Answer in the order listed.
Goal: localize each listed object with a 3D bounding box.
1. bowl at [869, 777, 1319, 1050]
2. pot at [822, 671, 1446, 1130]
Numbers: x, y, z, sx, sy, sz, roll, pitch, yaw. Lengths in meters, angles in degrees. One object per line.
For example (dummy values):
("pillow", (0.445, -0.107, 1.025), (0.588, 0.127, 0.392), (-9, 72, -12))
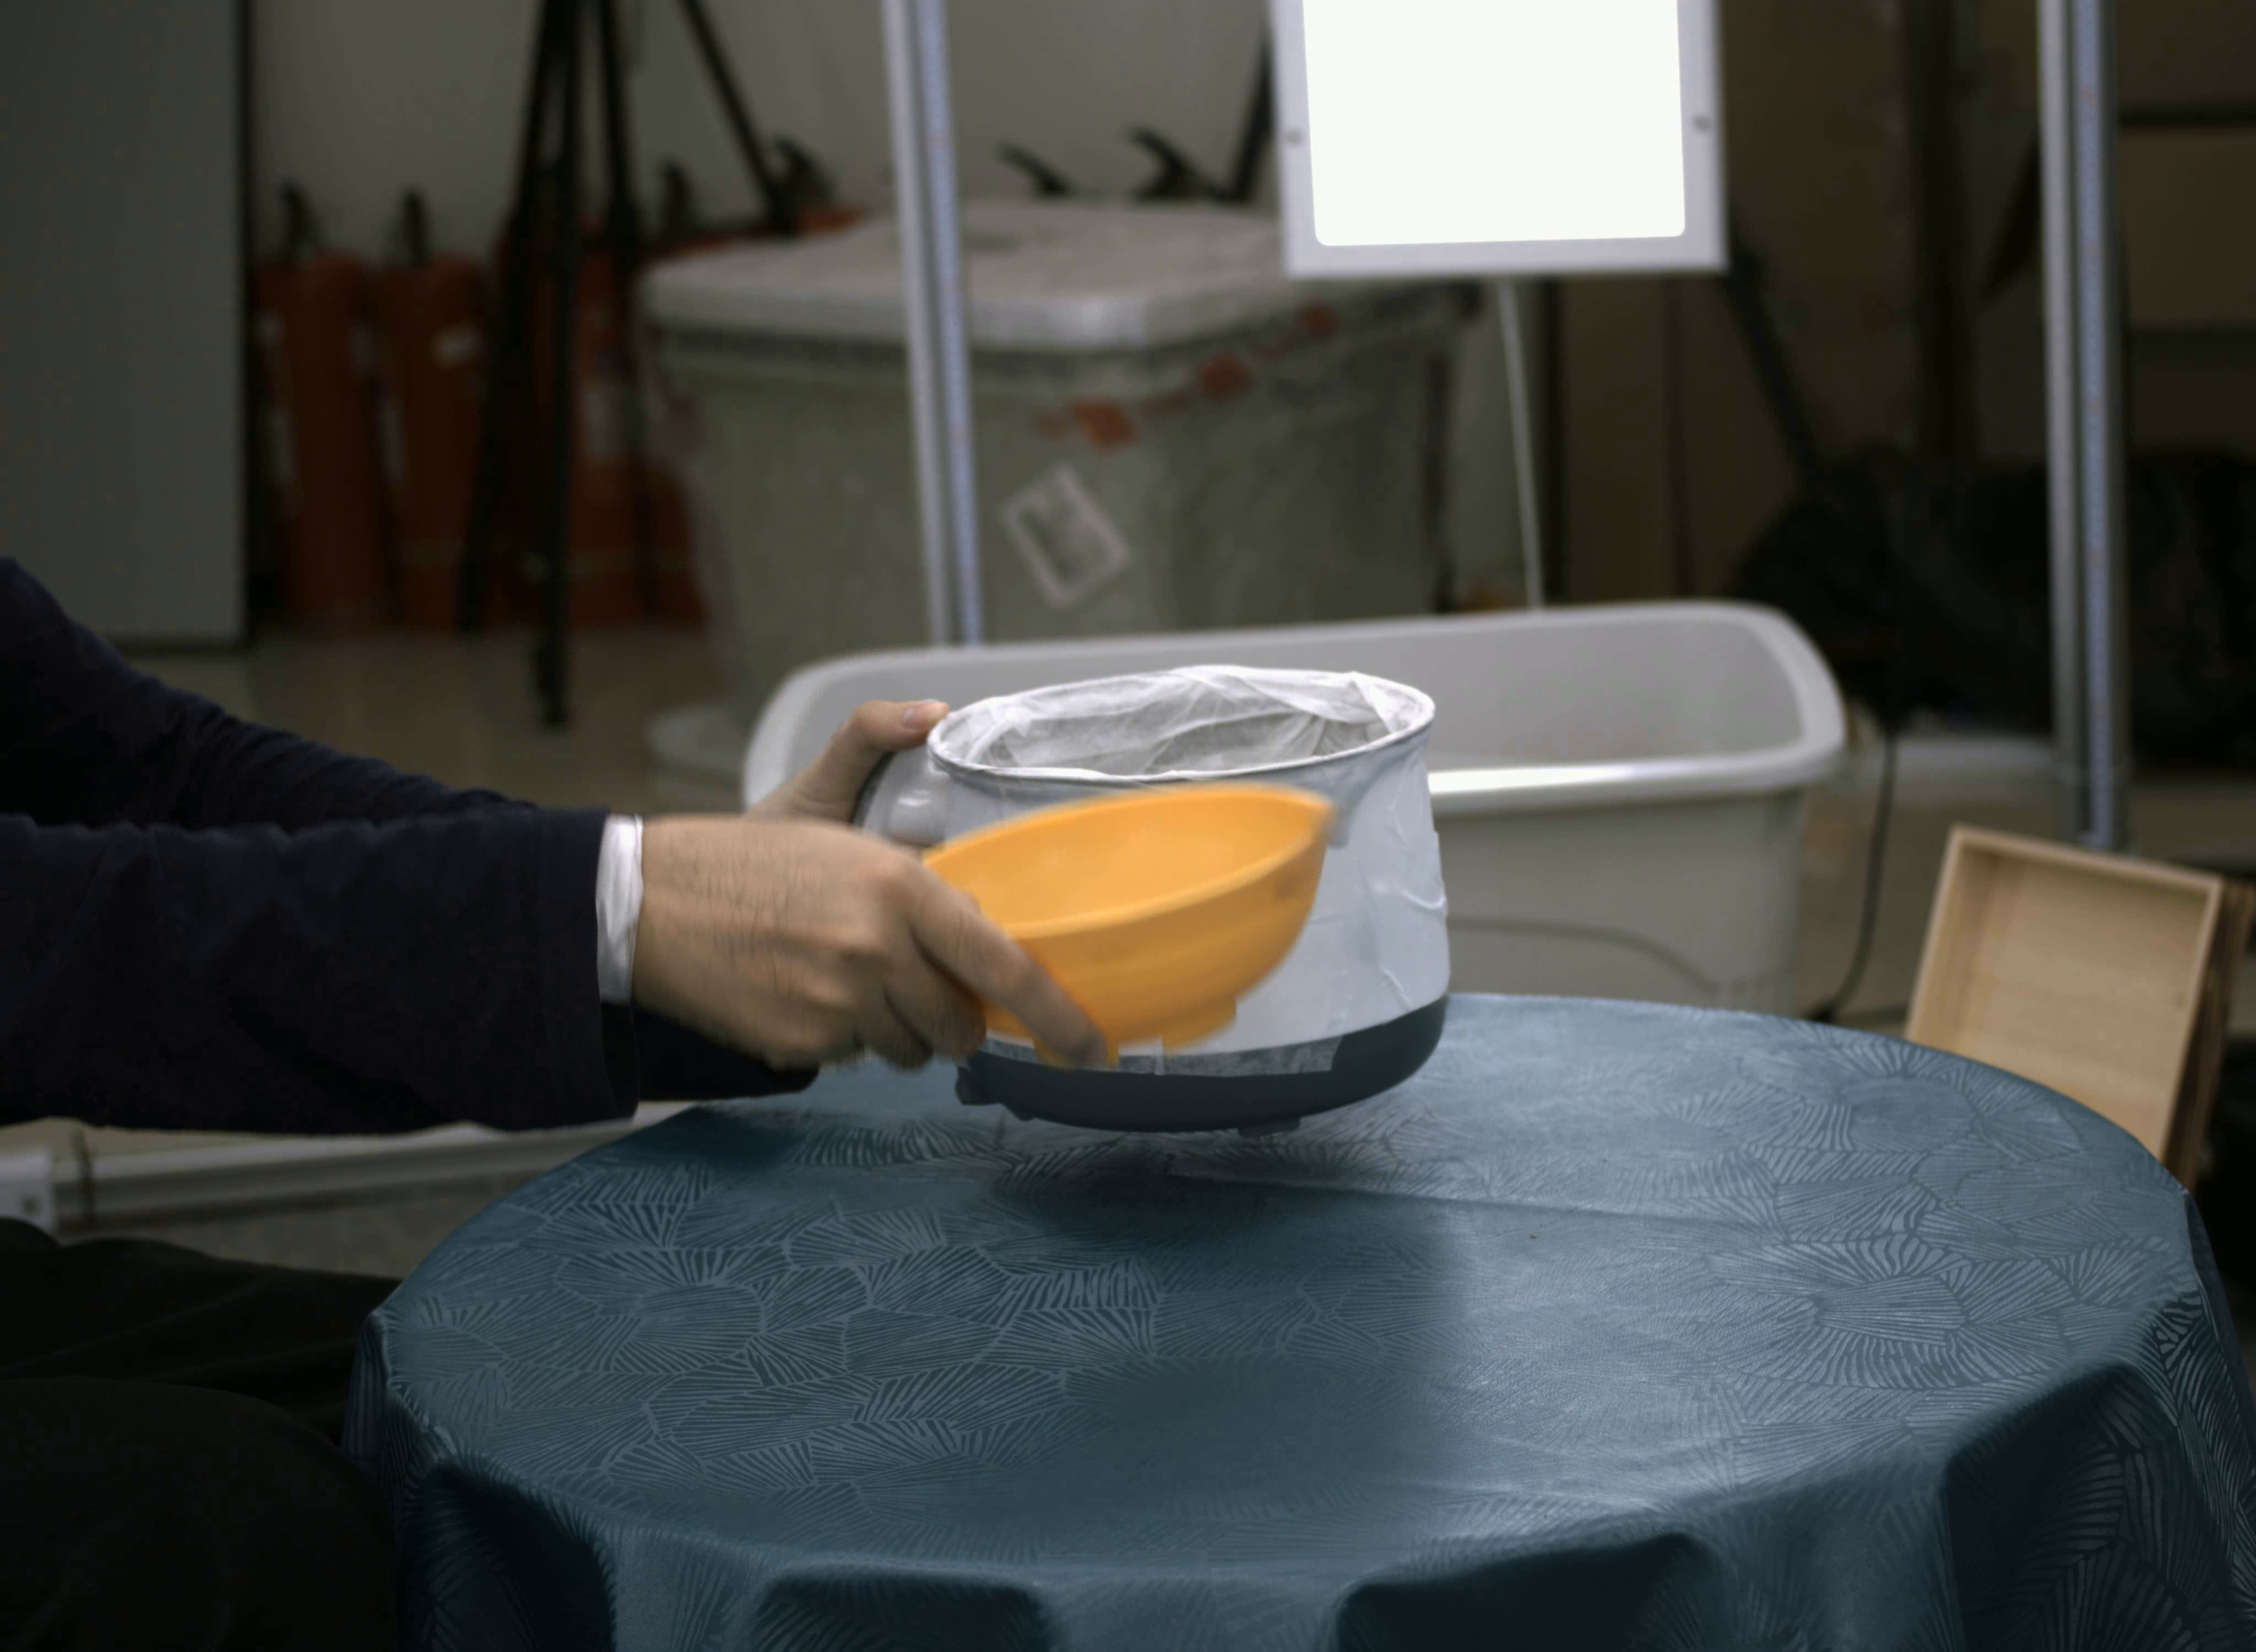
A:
("bowl", (-0.006, 0.031, 1.720), (0.145, 0.060, 0.145), (-11, 13, 1))
("pot", (-0.002, 0.022, 1.930), (0.237, 0.137, 0.175), (3, 12, 26))
